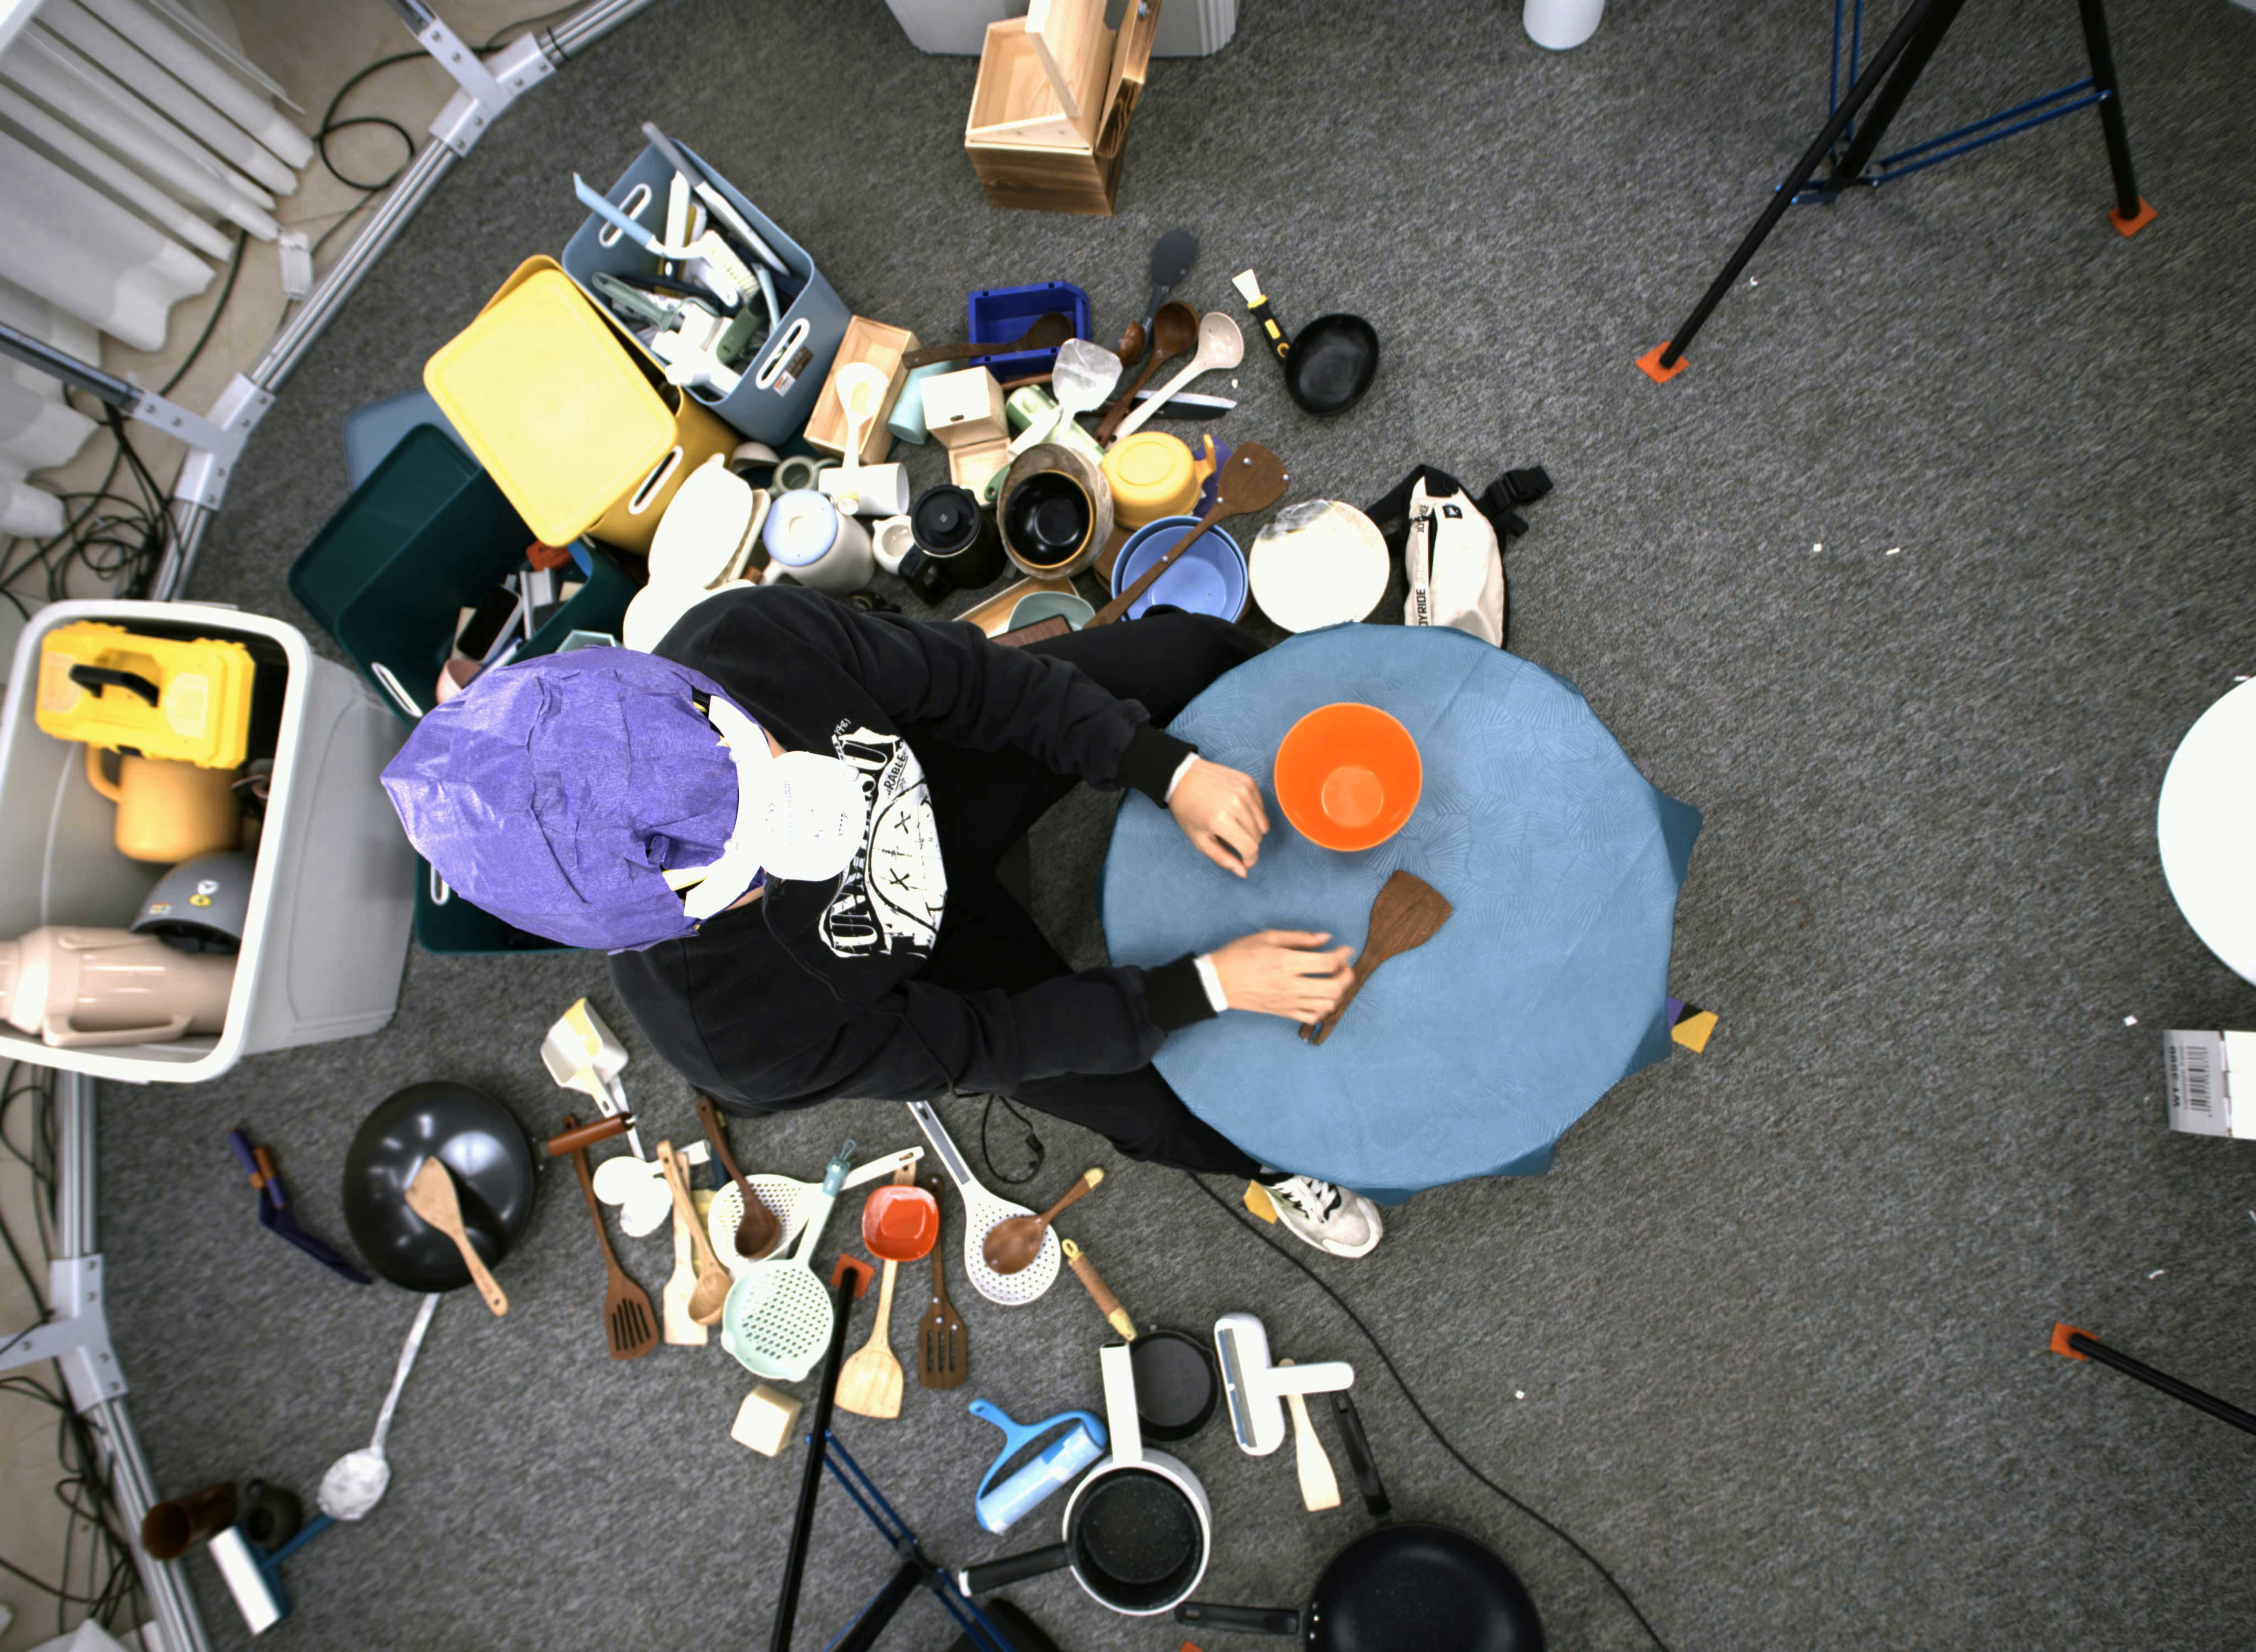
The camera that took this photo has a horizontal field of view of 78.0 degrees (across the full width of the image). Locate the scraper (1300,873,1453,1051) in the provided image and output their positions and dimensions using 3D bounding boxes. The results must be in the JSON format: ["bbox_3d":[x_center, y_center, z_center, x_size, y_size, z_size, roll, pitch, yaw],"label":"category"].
[{"bbox_3d":[0.254,0.147,1.459,0.075,0.011,0.212,38,94,12],"label":"scraper"}]

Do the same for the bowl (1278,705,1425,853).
[{"bbox_3d":[0.232,-0.044,1.429,0.148,0.105,0.147,-1,85,10],"label":"bowl"}]
